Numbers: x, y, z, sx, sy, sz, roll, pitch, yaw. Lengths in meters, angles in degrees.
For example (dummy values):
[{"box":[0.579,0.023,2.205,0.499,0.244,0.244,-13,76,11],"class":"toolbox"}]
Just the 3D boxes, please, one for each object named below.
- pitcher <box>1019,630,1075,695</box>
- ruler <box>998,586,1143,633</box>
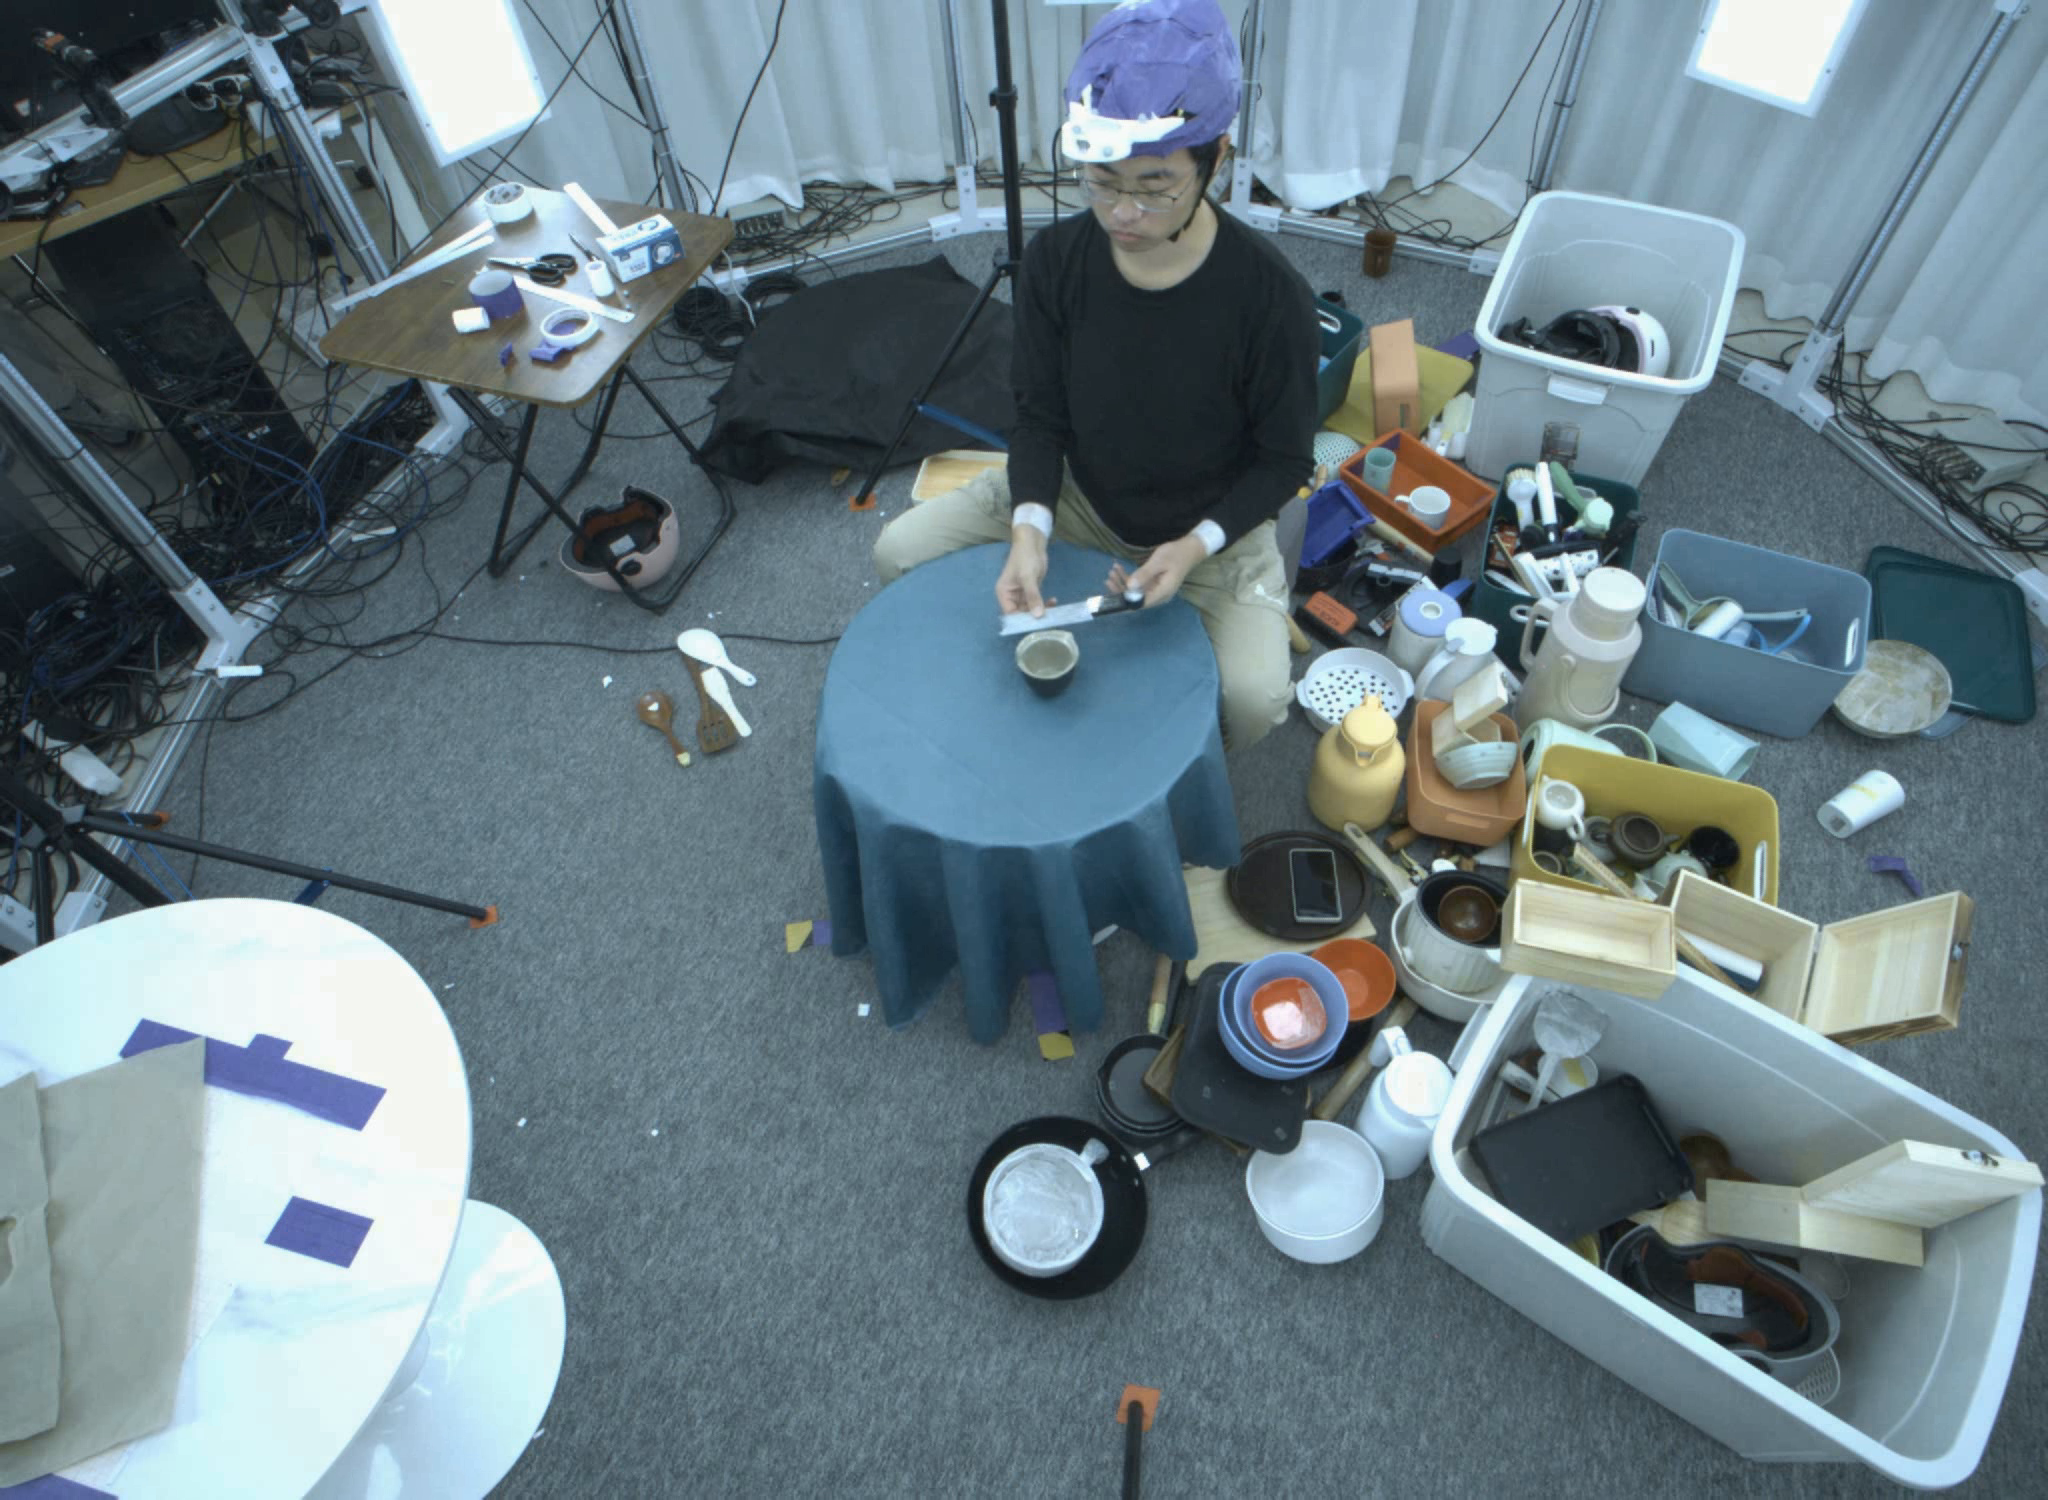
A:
[{"box":[0.039,-0.125,1.830,0.082,0.072,0.096,33,64,24],"class":"pitcher"},{"box":[0.069,-0.211,1.826,0.219,0.024,0.038,-10,51,-5],"class":"ruler"}]
